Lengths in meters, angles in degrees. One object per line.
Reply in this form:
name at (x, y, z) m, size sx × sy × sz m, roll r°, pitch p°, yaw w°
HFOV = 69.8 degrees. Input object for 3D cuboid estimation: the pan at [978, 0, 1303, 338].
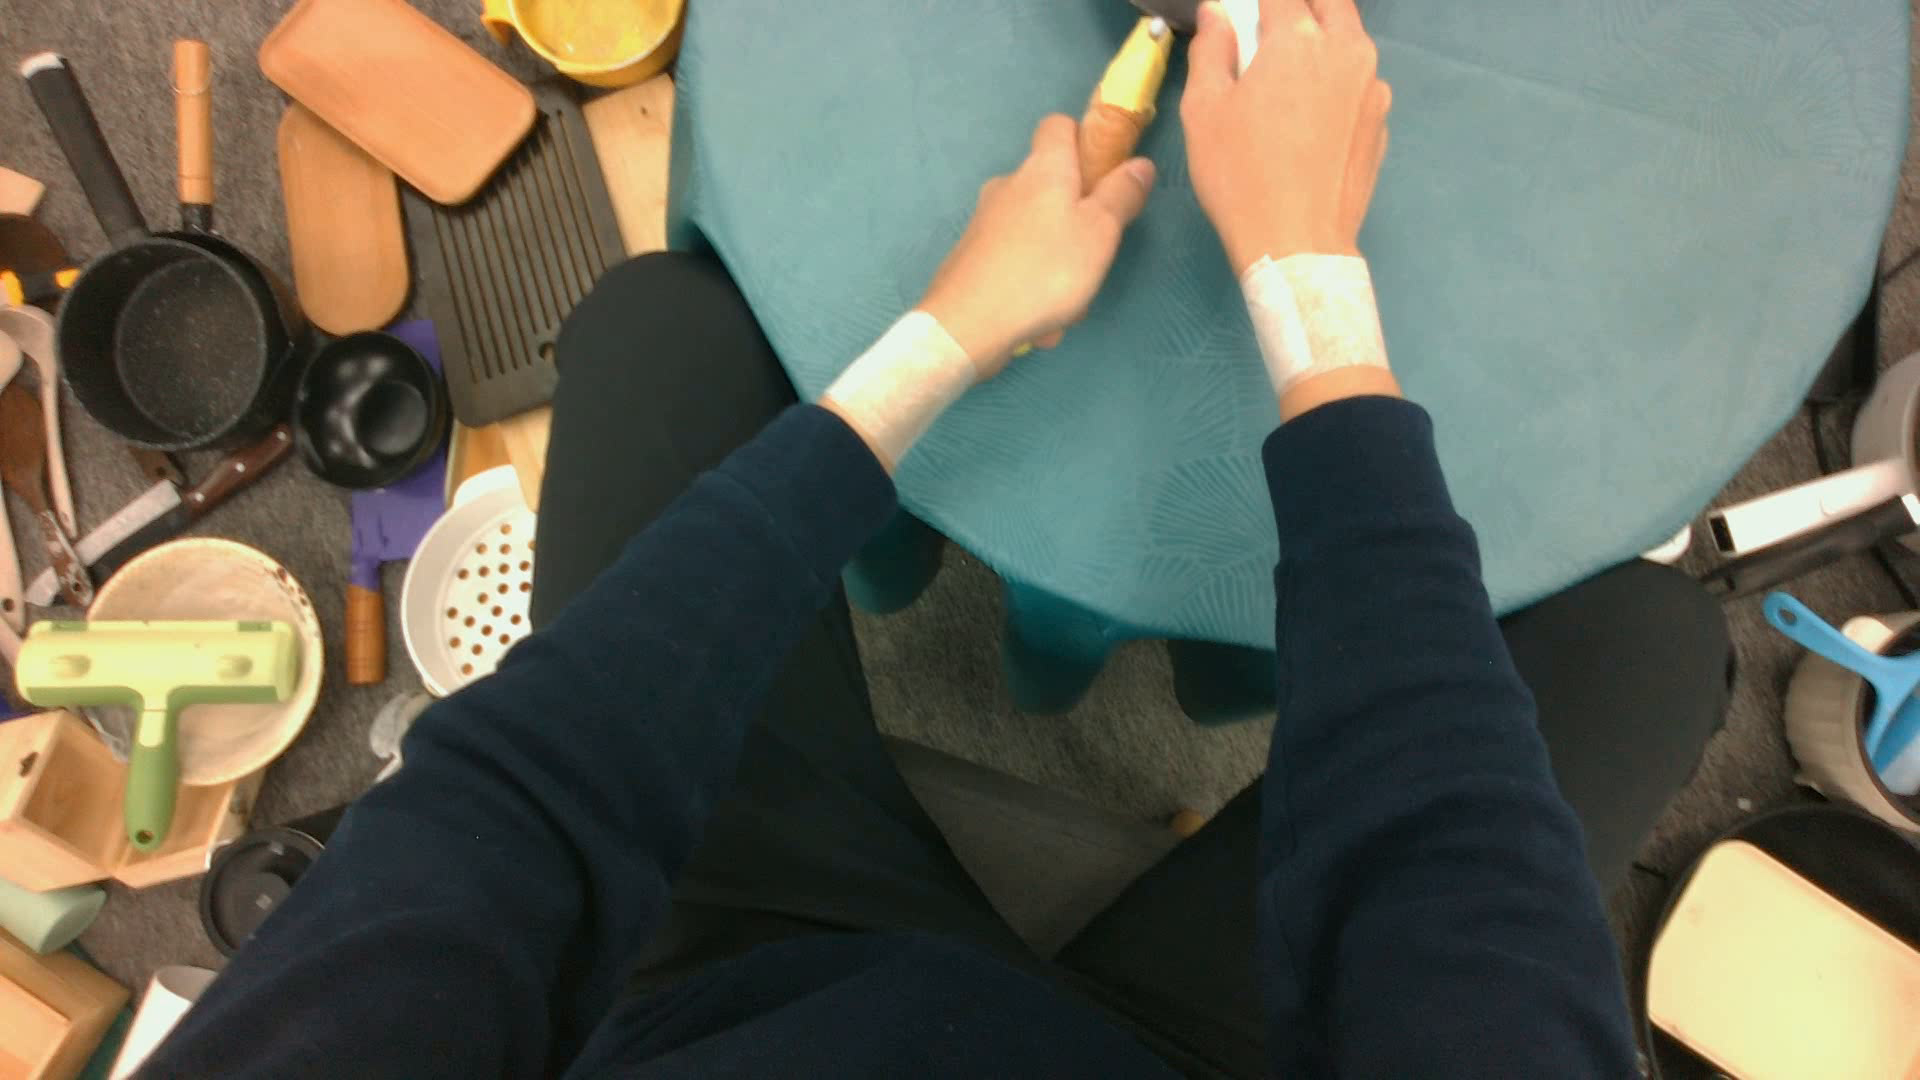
pan at (0.075, -0.239, 0.634) m, size 0.169 × 0.049 × 0.324 m, roll 27°, pitch 84°, yaw -11°

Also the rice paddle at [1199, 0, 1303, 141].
rice paddle at (0.108, -0.276, 0.623) m, size 0.069 × 0.029 × 0.205 m, roll -10°, pitch 74°, yaw -15°
